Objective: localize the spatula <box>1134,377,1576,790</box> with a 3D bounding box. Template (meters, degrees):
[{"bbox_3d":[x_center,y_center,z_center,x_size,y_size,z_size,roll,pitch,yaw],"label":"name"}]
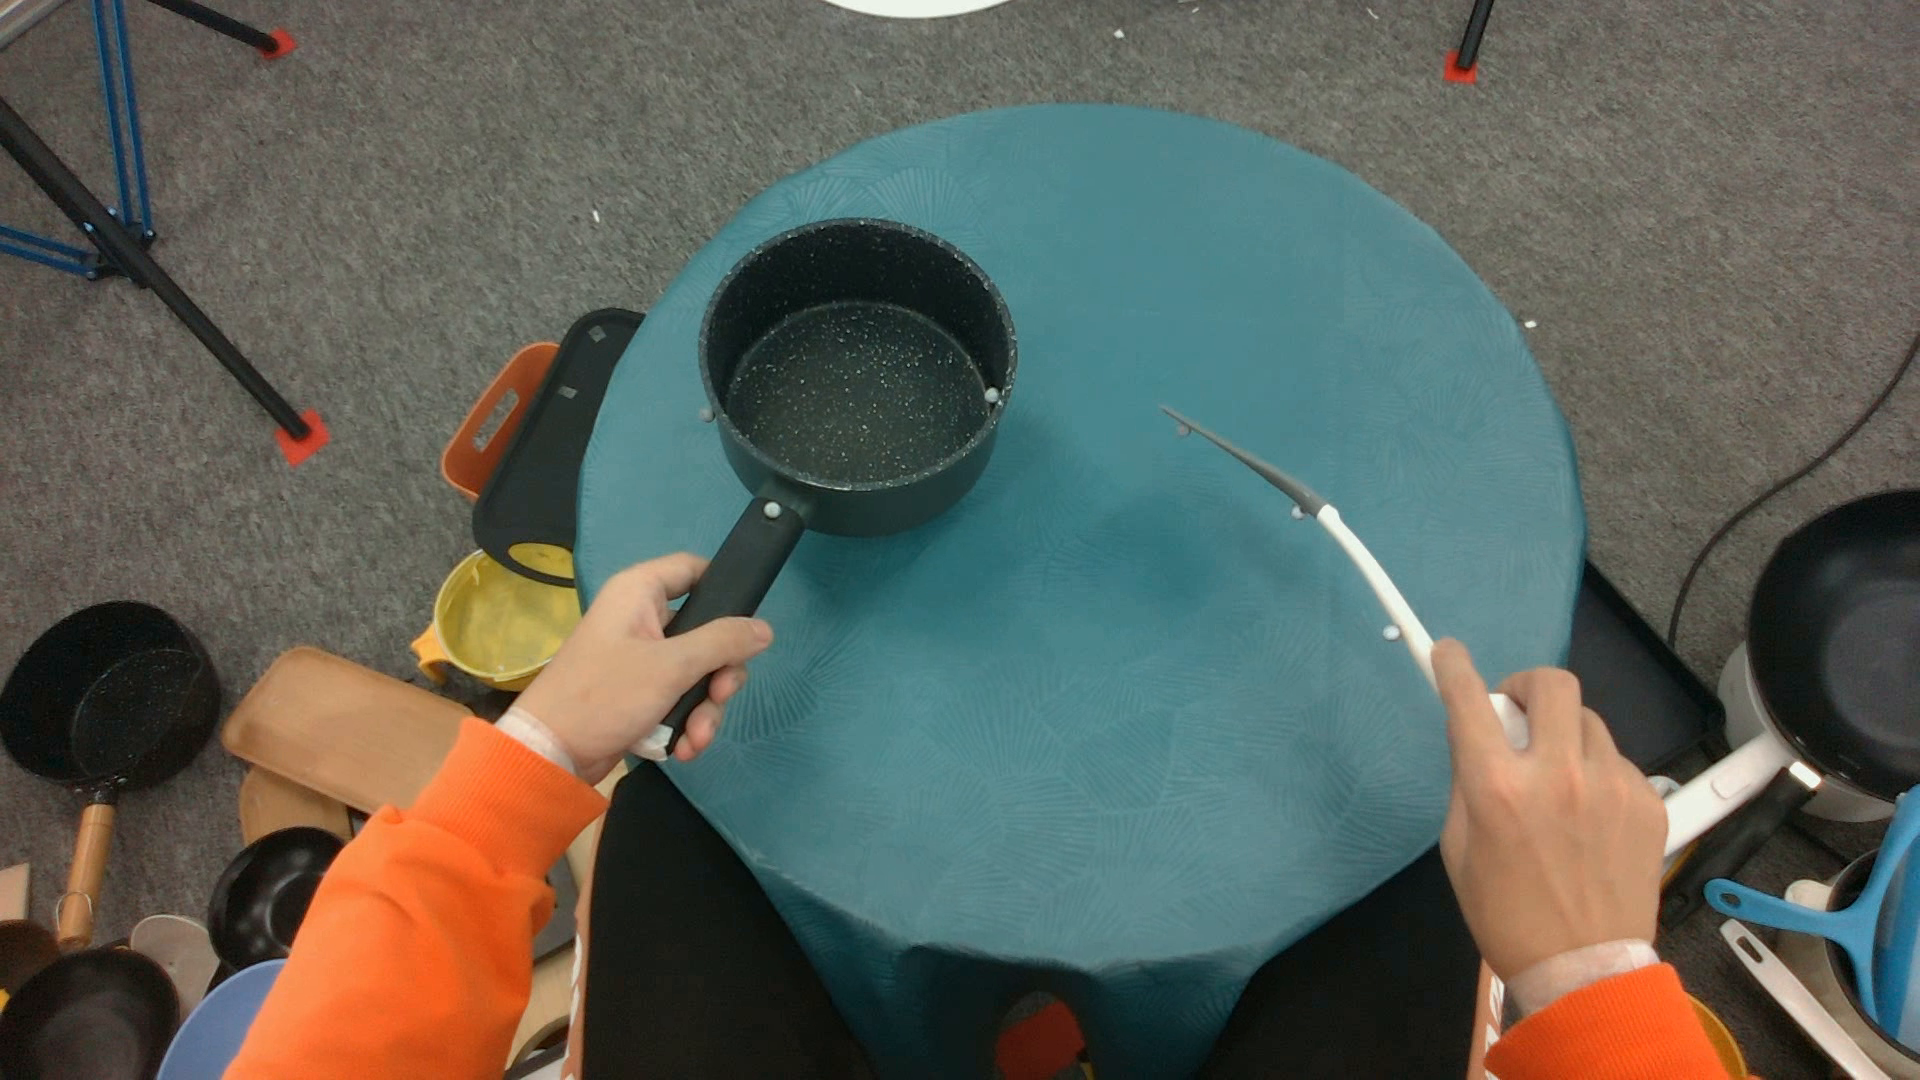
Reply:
[{"bbox_3d":[0.189,0.005,0.691,0.032,0.059,0.288,-52,56,22],"label":"spatula"}]

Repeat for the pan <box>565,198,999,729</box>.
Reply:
[{"bbox_3d":[-0.100,-0.035,0.732,0.172,0.086,0.330,24,64,7],"label":"pan"}]
